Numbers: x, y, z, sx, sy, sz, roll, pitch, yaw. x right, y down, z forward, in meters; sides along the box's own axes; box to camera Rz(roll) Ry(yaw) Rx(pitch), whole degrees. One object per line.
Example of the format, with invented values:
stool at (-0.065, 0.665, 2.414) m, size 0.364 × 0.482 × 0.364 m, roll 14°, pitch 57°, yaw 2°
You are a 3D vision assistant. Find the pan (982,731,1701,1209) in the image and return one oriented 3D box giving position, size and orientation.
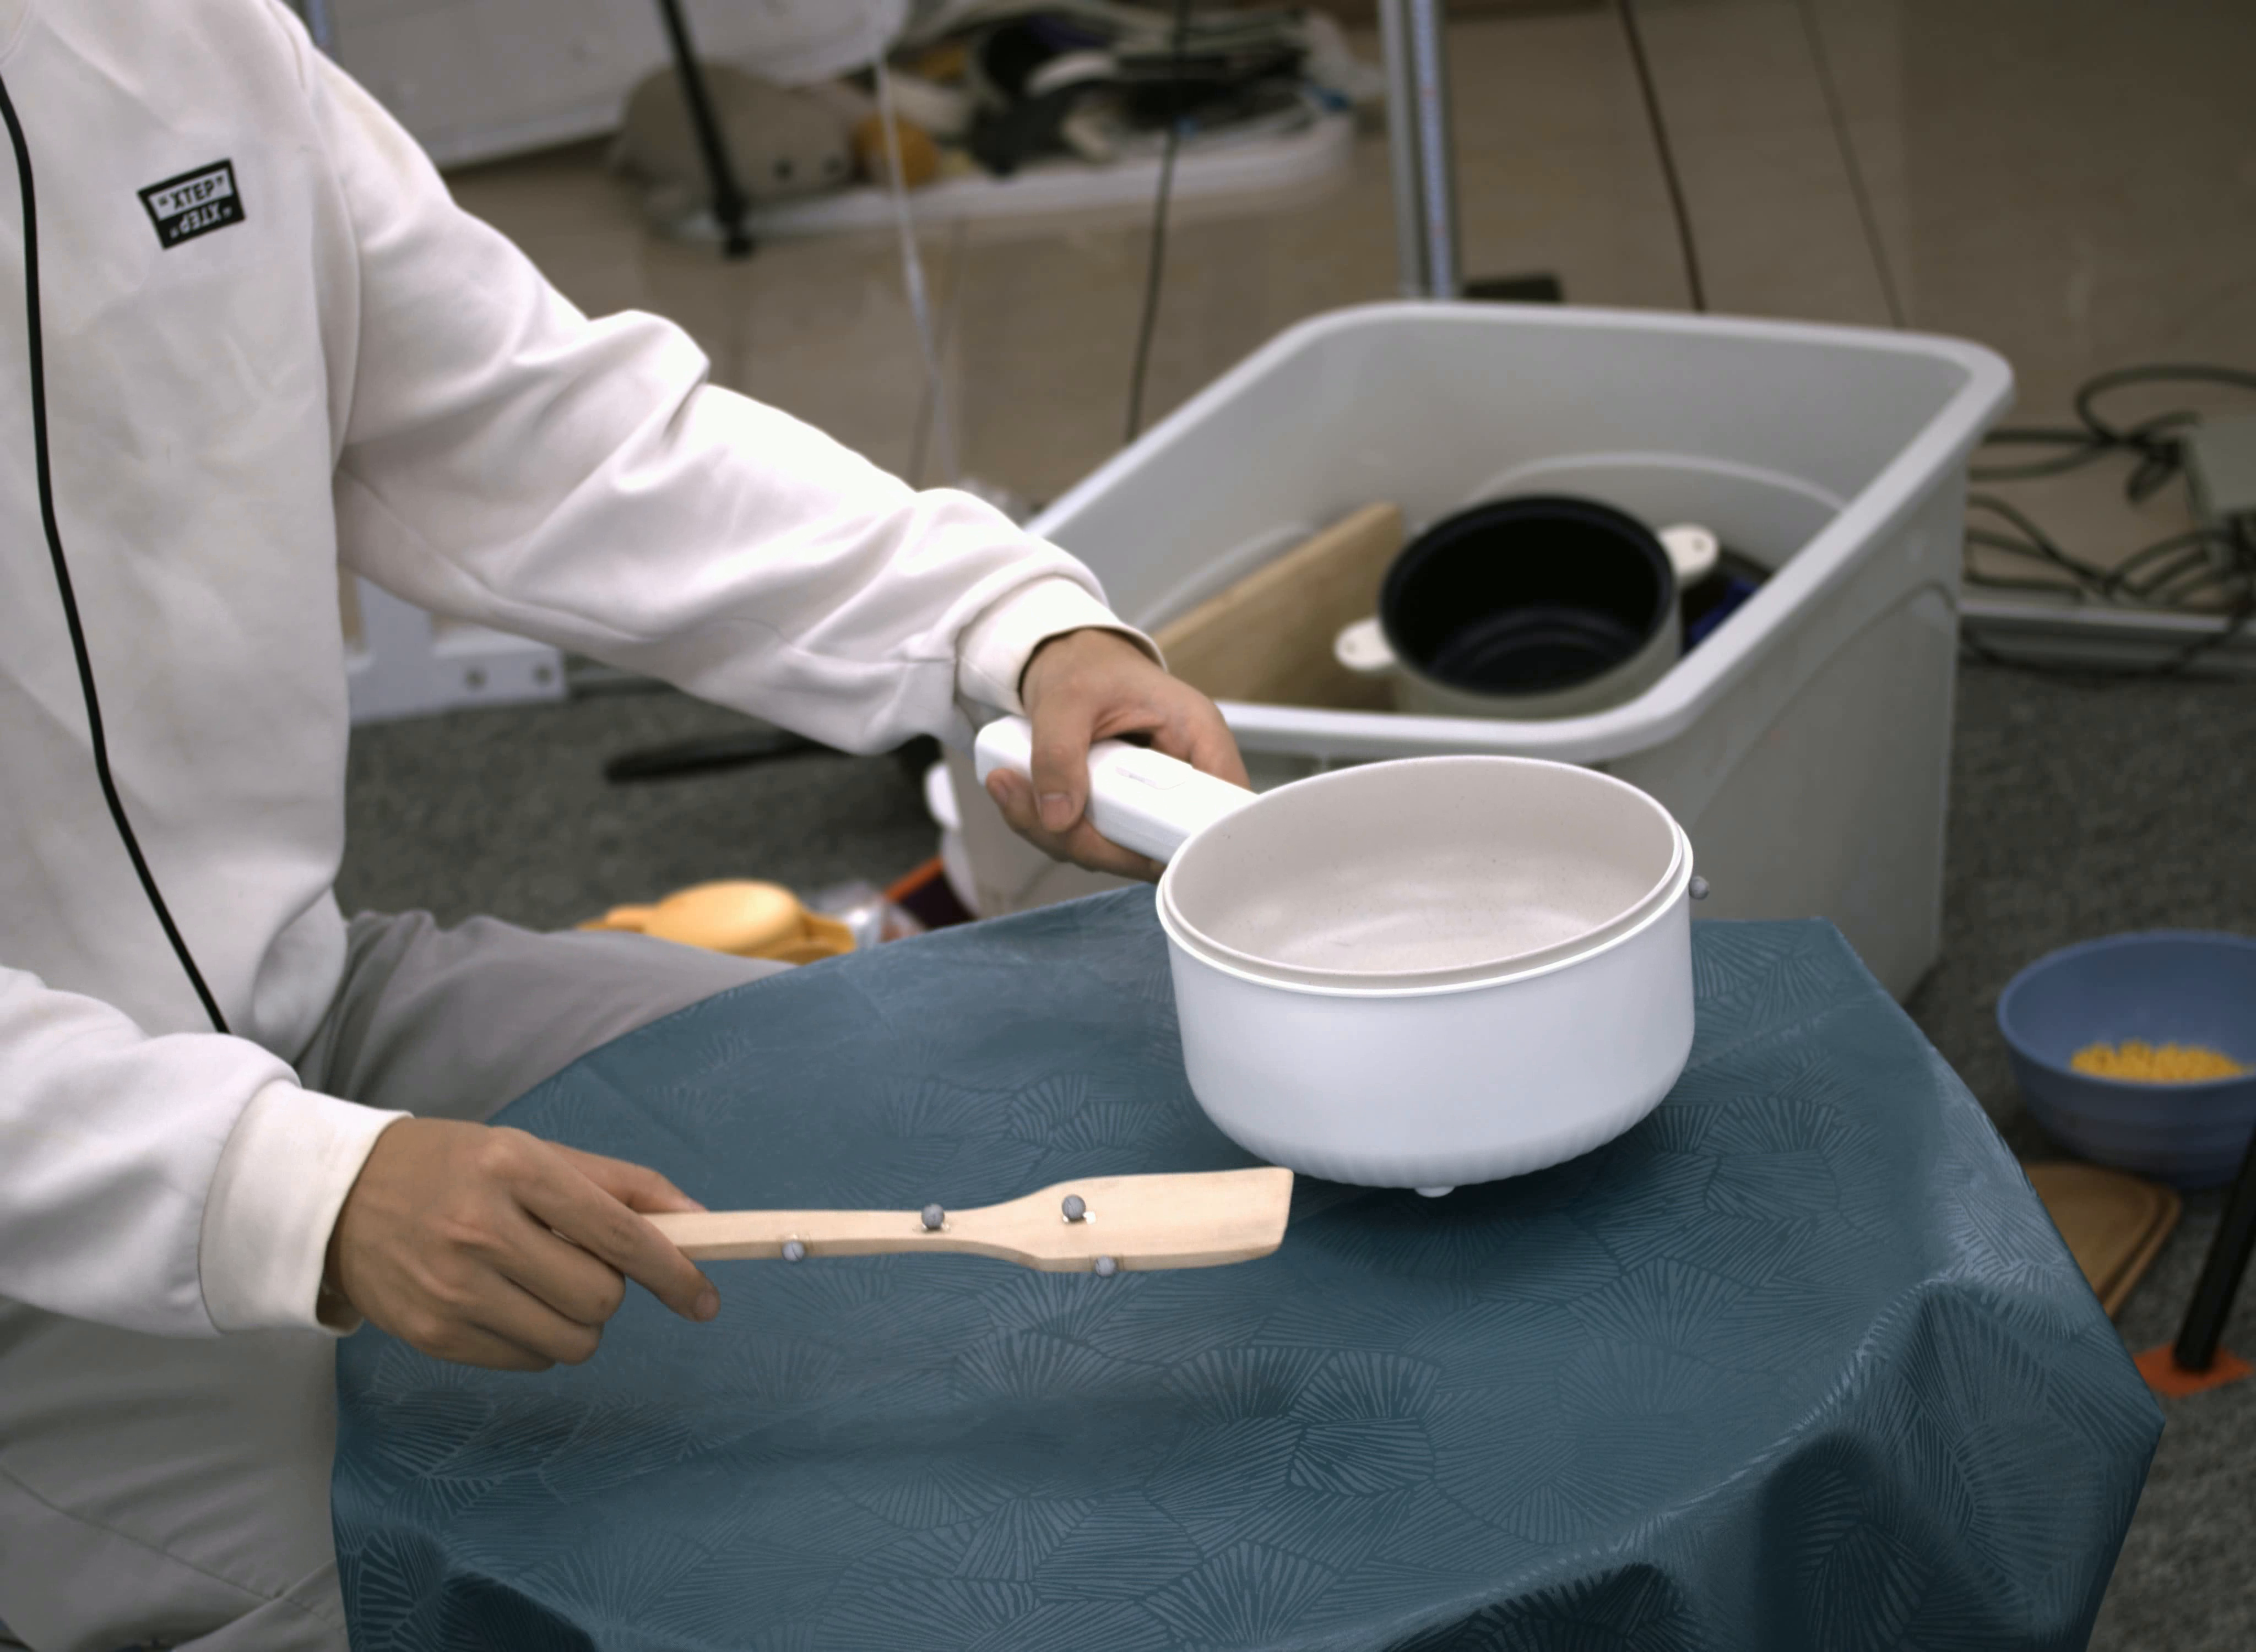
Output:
pan at (0.069, 0.047, 2.198) m, size 0.199 × 0.103 × 0.352 m, roll -28°, pitch 29°, yaw -31°
